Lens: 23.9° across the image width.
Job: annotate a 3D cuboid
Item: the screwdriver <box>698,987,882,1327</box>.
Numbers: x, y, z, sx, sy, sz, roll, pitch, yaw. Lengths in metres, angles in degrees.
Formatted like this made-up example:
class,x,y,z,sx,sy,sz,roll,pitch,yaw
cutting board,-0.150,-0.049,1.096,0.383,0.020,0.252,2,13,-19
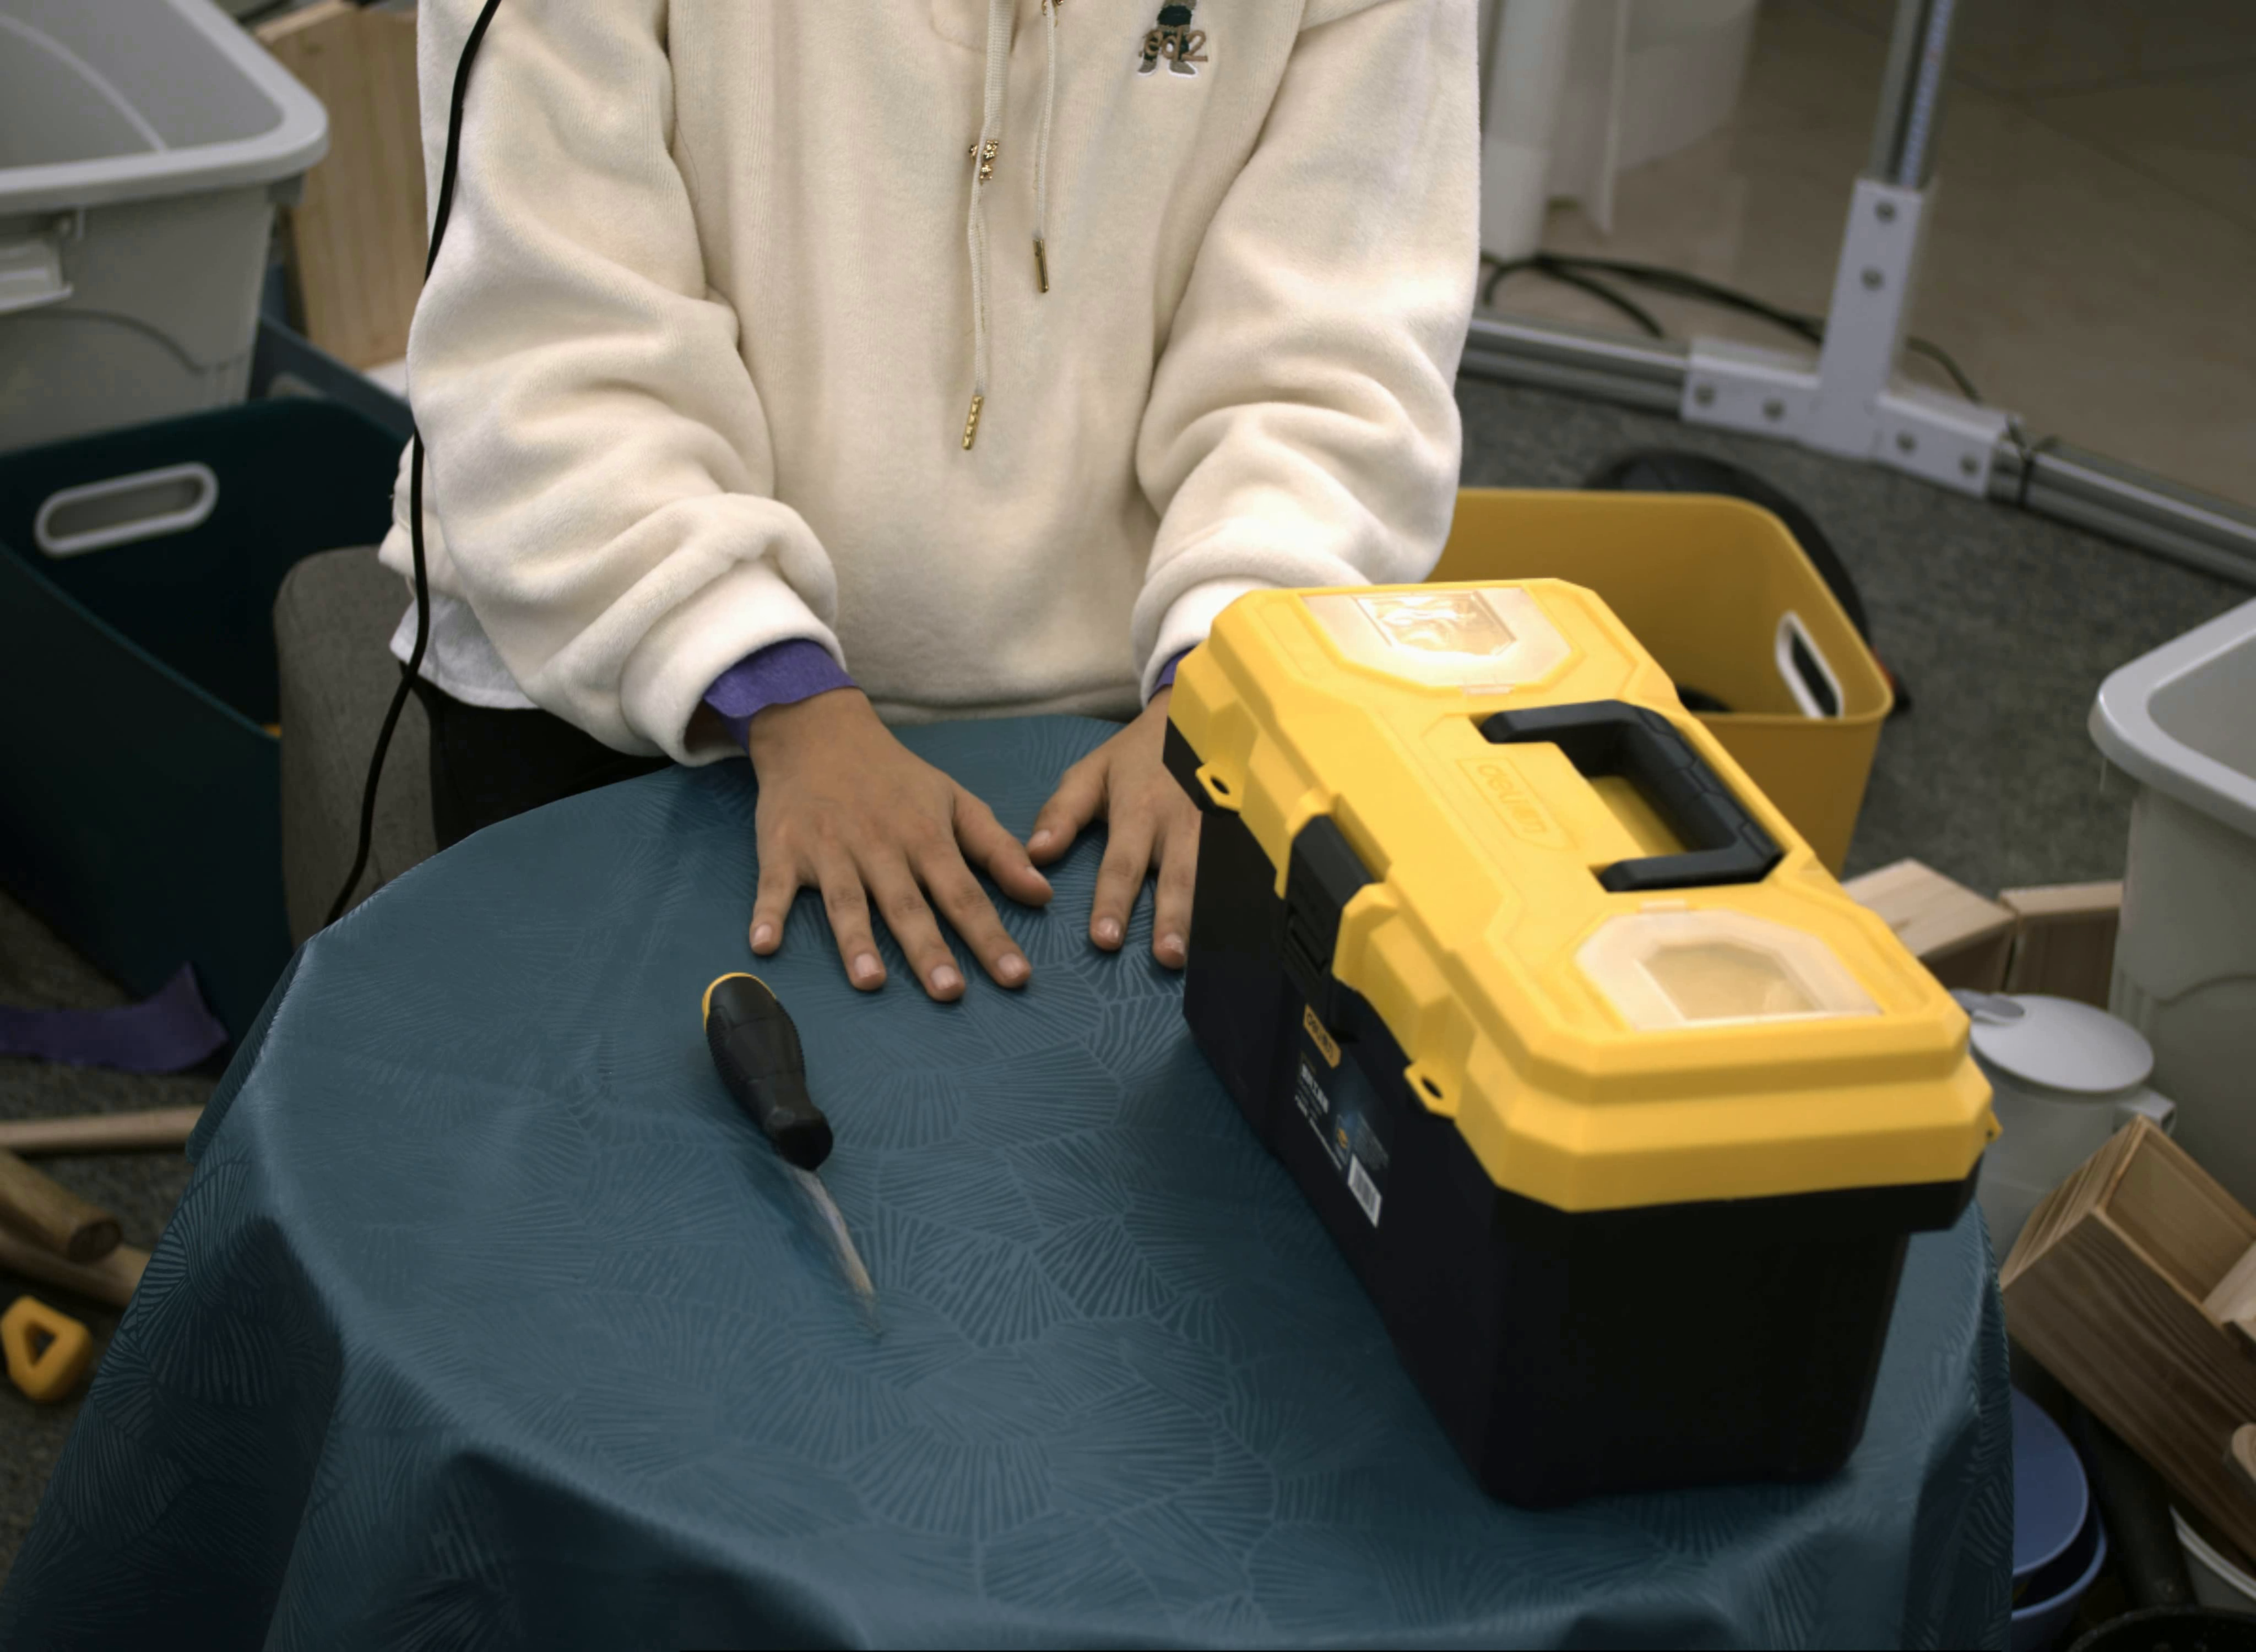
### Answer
class,x,y,z,sx,sy,sz,roll,pitch,yaw
screwdriver,-0.111,0.114,1.785,0.031,0.031,0.199,-2,33,-18

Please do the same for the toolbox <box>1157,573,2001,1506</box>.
class,x,y,z,sx,sy,sz,roll,pitch,yaw
toolbox,0.135,0.063,1.761,0.180,0.172,0.354,-3,28,-18
